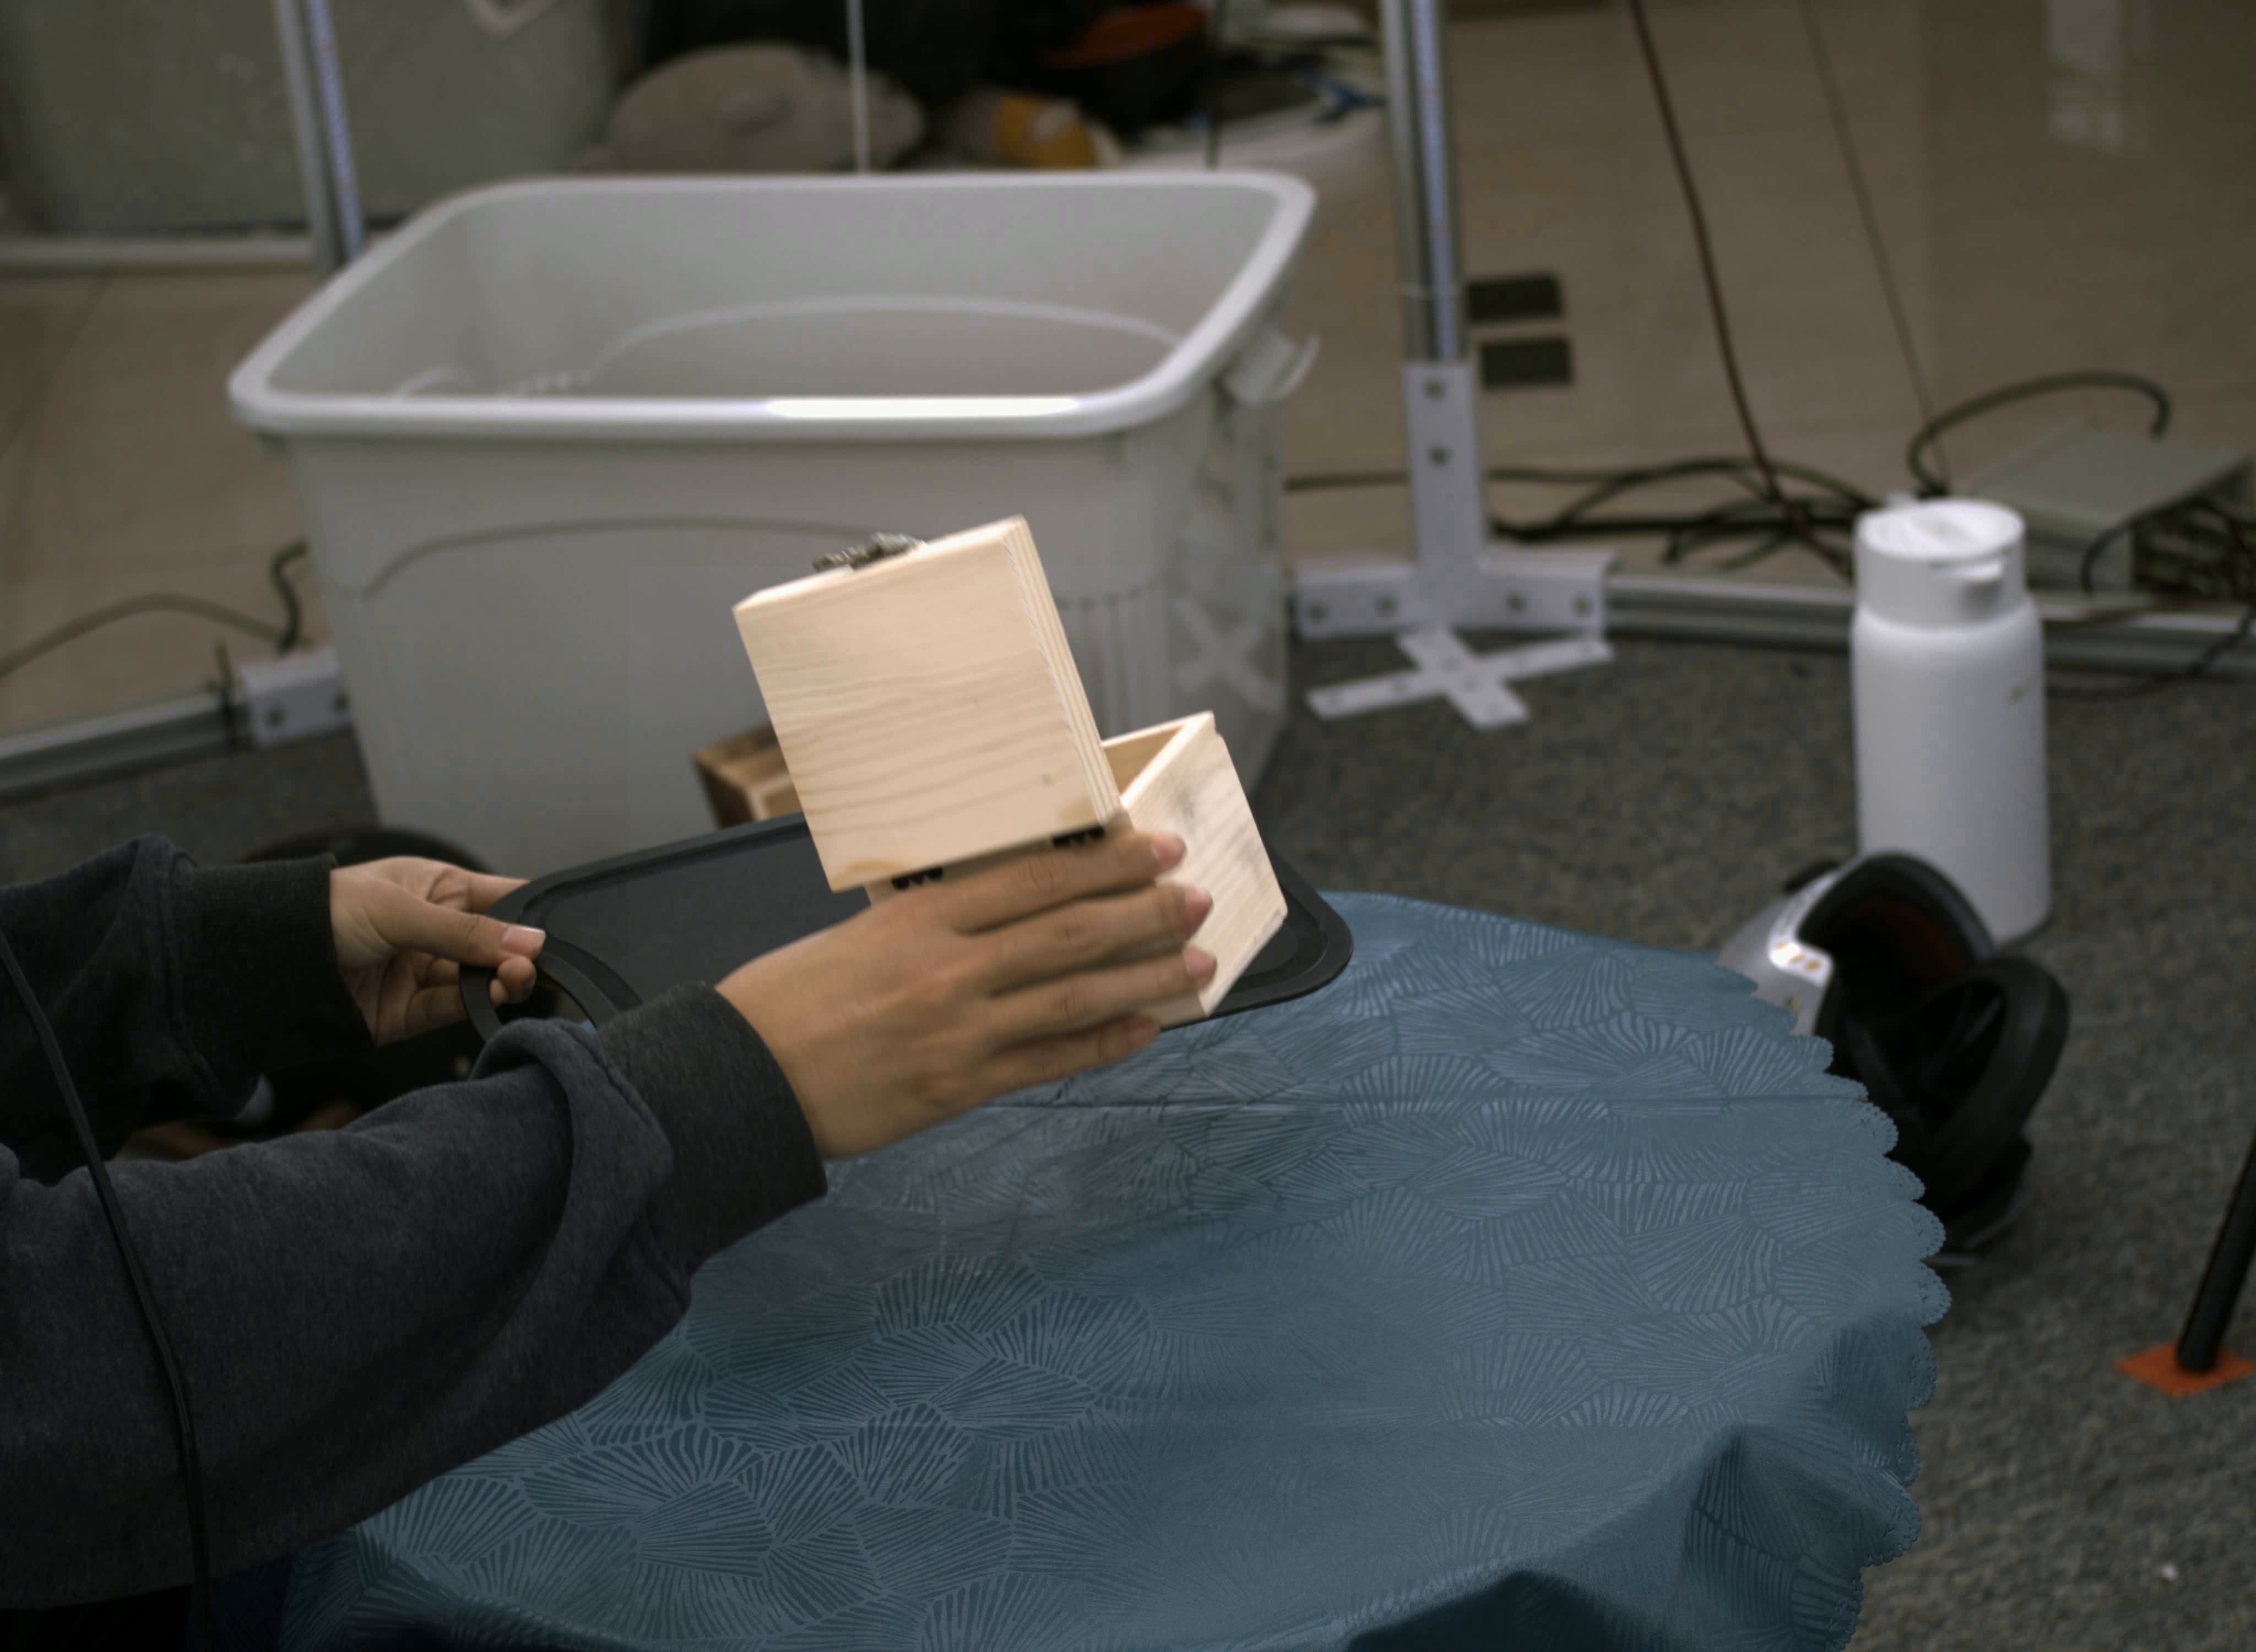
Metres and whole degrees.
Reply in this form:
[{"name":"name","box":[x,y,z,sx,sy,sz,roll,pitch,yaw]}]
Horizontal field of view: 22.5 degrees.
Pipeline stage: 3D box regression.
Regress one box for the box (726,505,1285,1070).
[{"name":"box","box":[-0.039,-0.026,1.911,0.103,0.186,0.132,-15,16,23]}]

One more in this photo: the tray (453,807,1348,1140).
[{"name":"tray","box":[-0.092,0.041,2.144,0.324,0.010,0.208,-13,33,-20]}]
